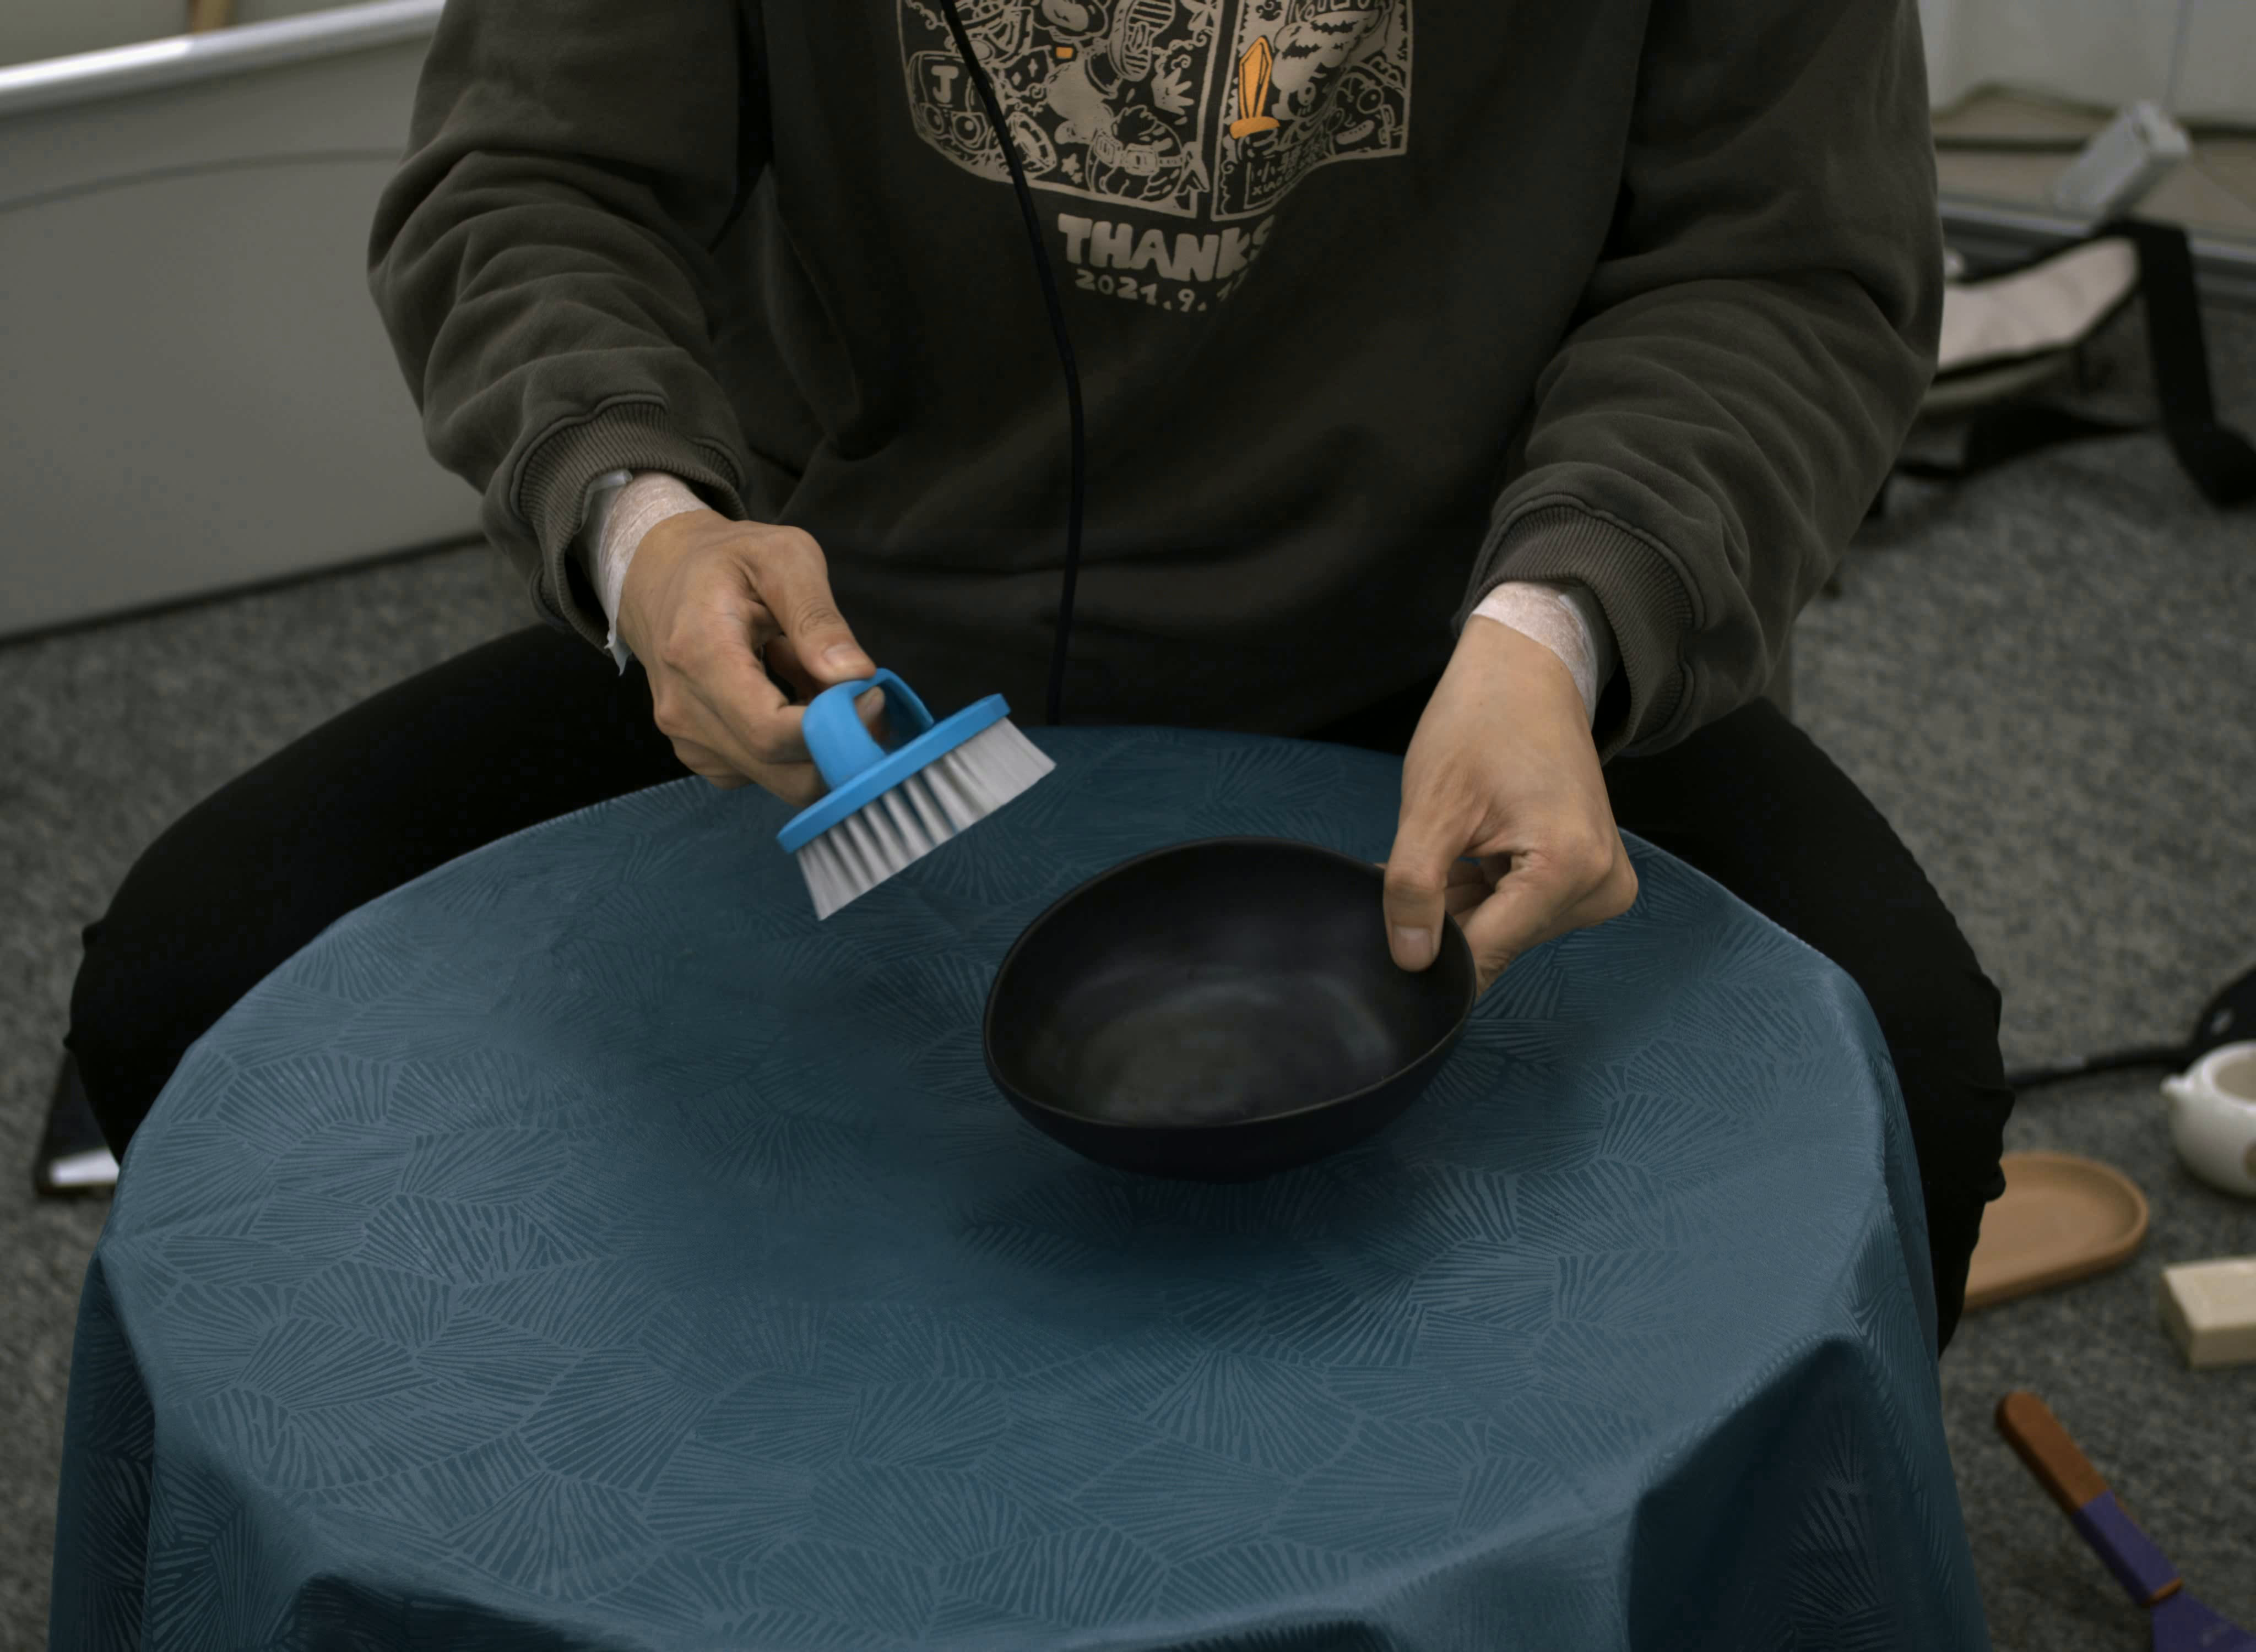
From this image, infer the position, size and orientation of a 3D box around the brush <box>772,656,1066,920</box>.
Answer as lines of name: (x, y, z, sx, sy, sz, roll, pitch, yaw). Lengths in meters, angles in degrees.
brush: (-0.078, -0.023, 1.865, 0.083, 0.064, 0.143, -36, 0, 16)

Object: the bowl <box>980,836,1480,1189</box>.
bowl: (0.034, 0.075, 1.852, 0.171, 0.066, 0.138, -18, 43, -22)
